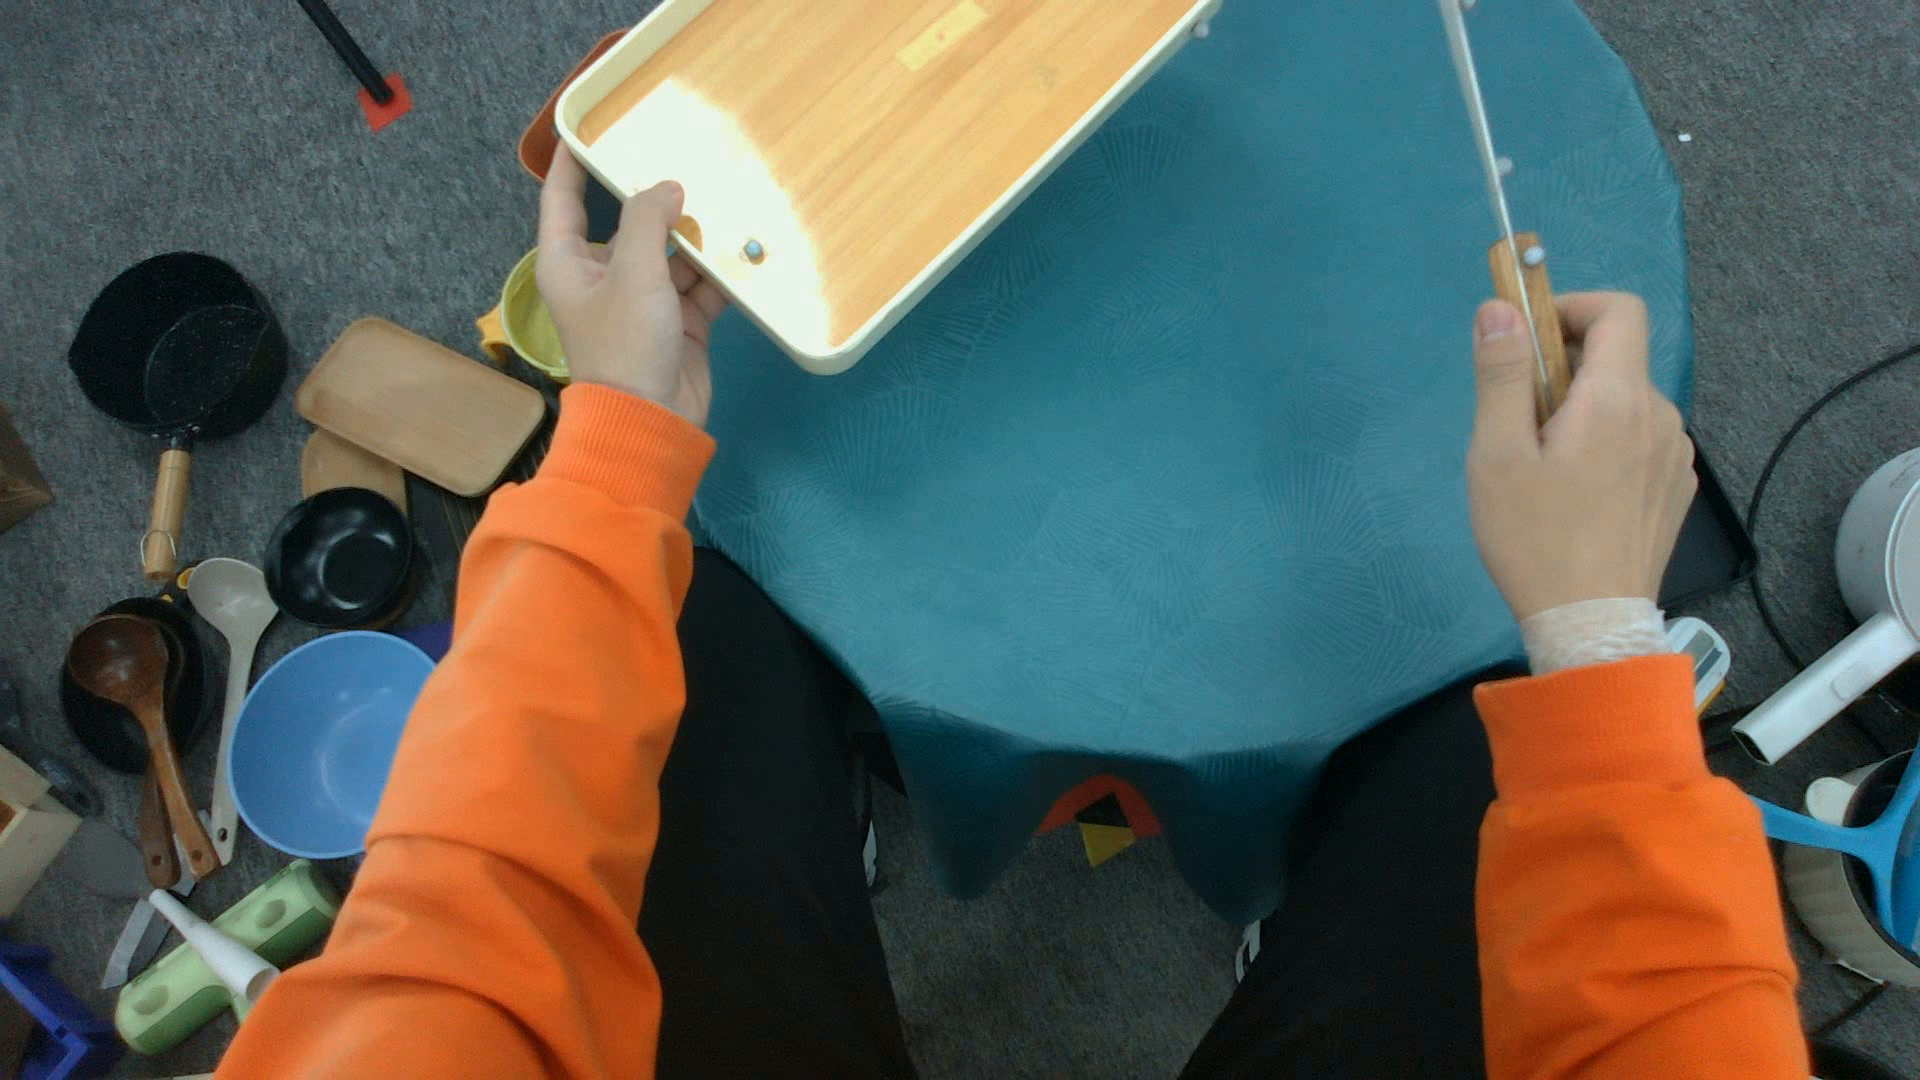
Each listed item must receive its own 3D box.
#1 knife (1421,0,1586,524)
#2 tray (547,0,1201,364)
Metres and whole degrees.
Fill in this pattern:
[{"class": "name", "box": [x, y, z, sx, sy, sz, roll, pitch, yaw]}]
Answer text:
[{"class": "knife", "box": [0.225, -0.159, 0.600, 0.021, 0.093, 0.305, -15, 92, 26]}, {"class": "tray", "box": [-0.037, -0.245, 0.690, 0.191, 0.027, 0.301, 42, 77, 10]}]
